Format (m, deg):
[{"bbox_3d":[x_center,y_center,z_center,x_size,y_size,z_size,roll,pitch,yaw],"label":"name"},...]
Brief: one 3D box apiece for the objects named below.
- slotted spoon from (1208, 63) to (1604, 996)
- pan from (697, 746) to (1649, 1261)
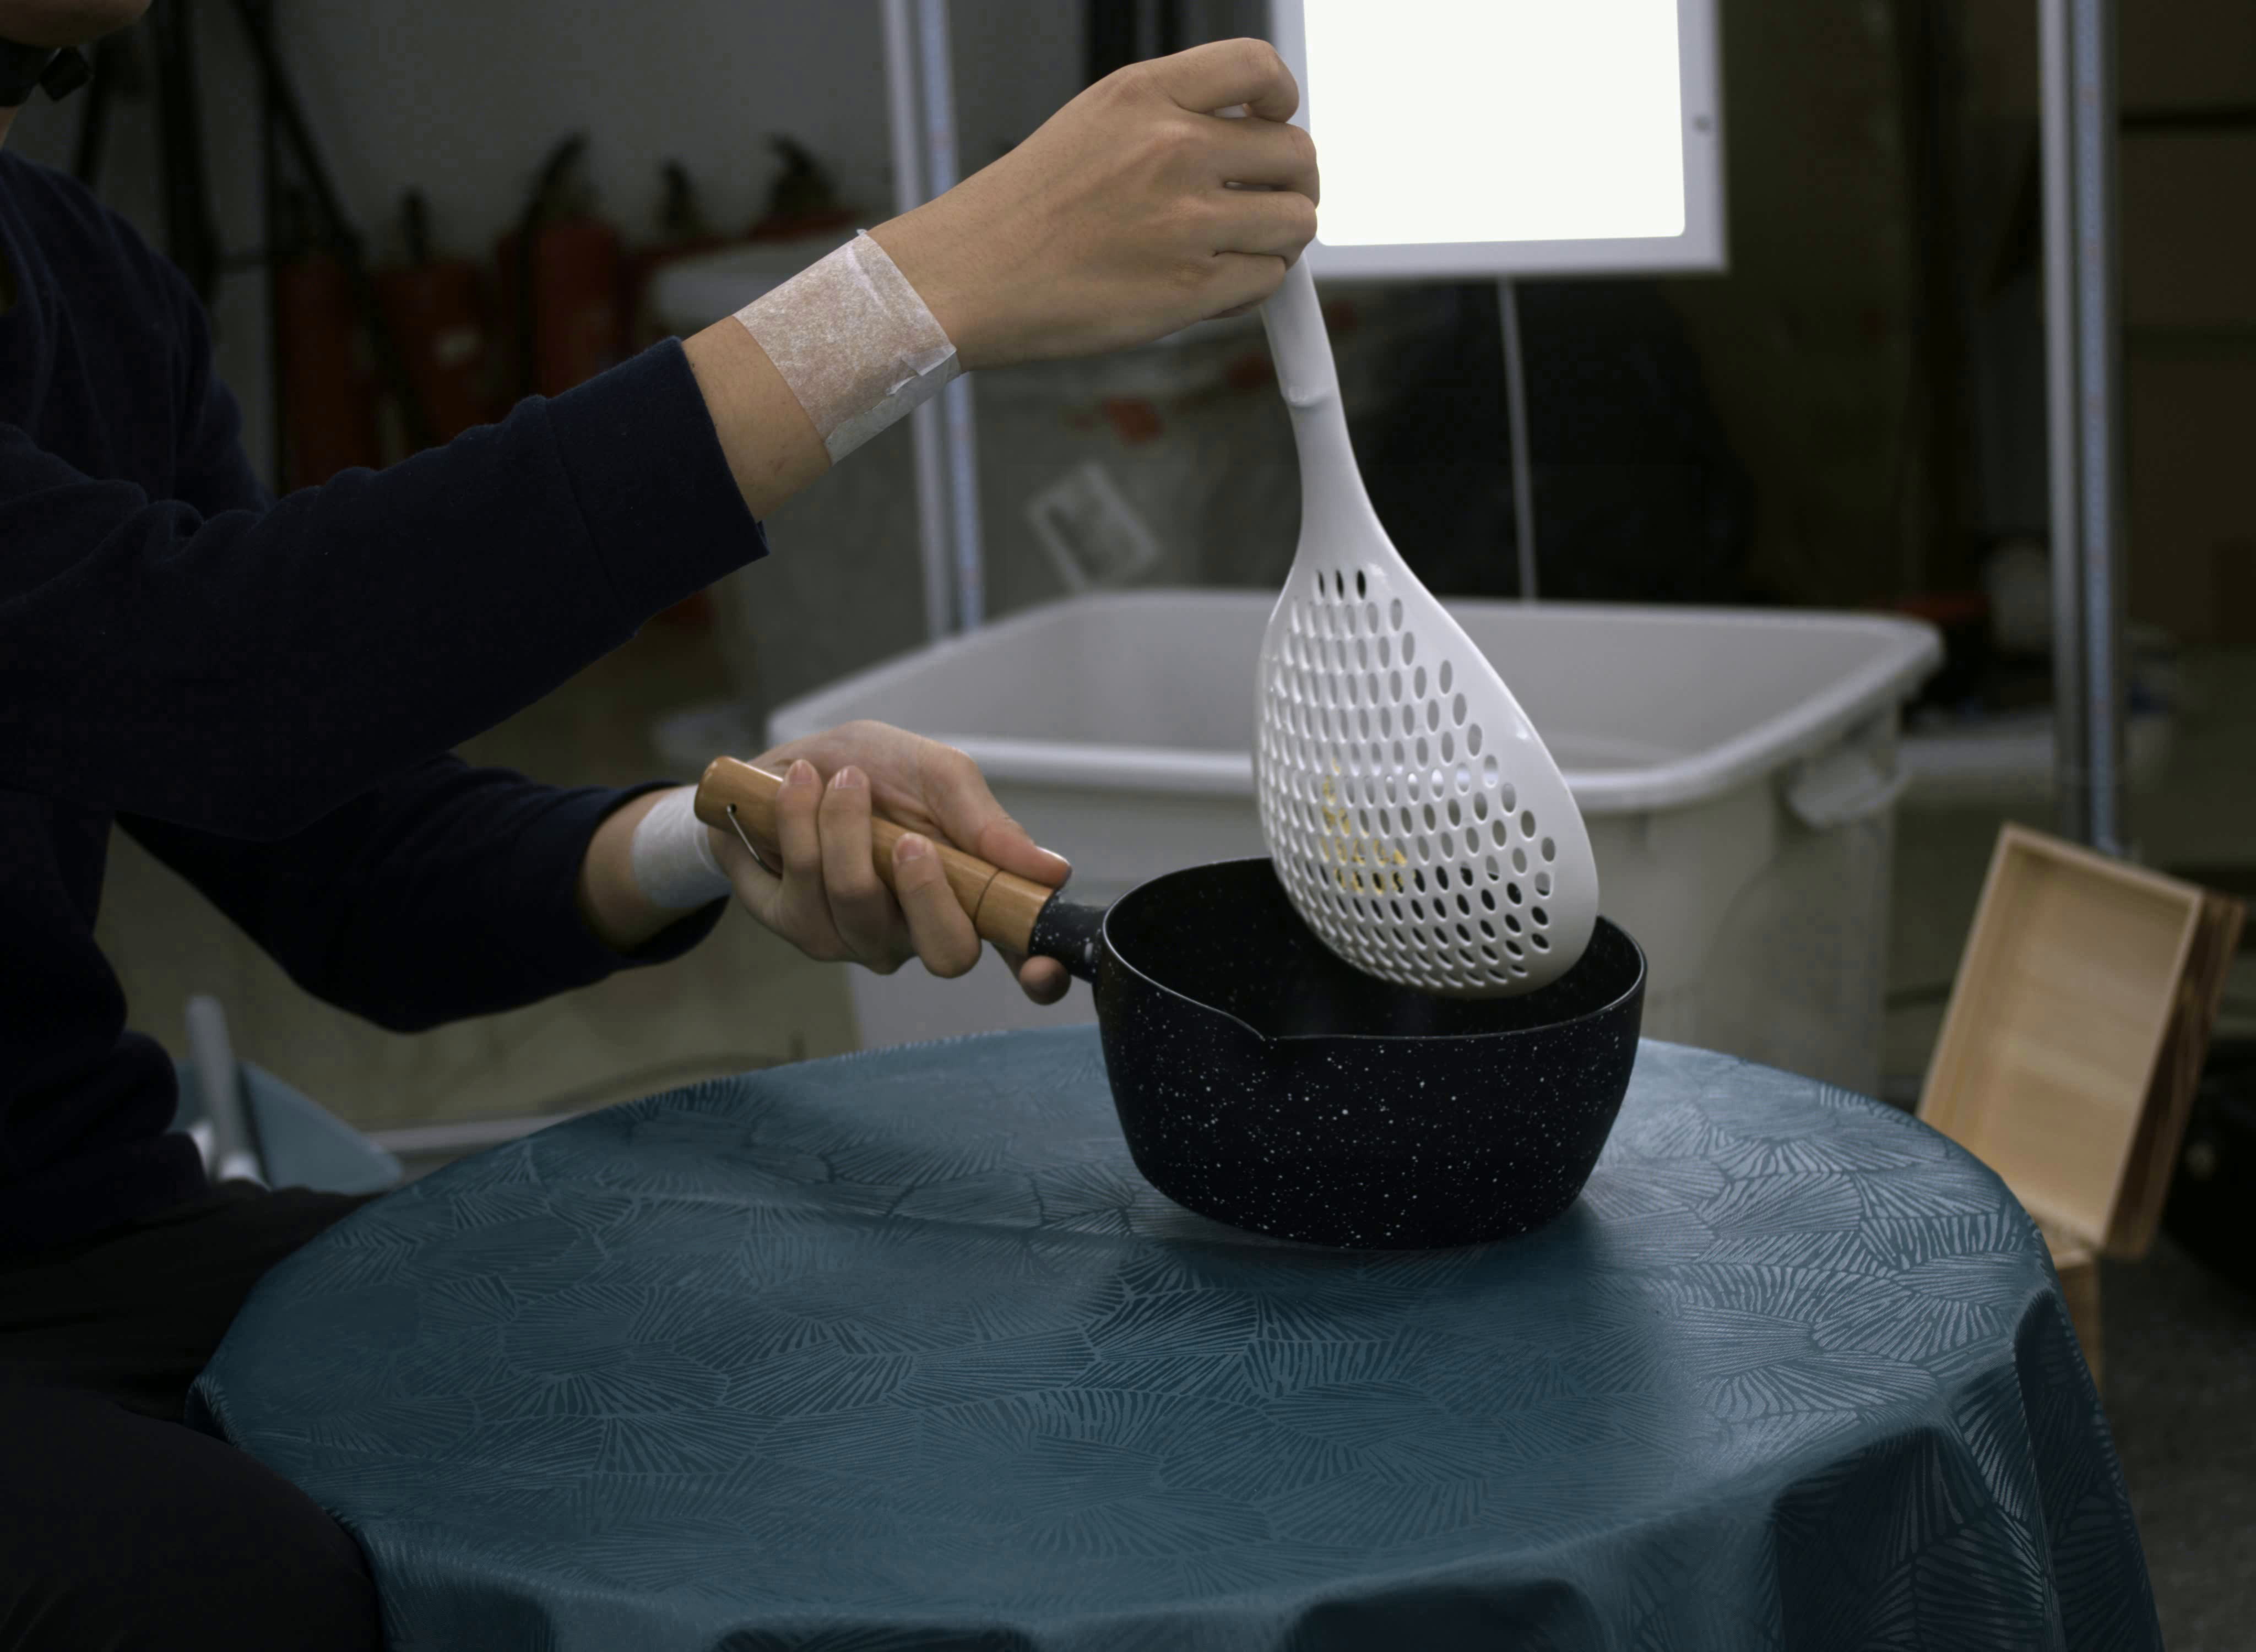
[{"bbox_3d":[0.070,-0.092,1.817,0.140,0.348,0.049,6,28,38],"label":"slotted spoon"},{"bbox_3d":[0.006,0.054,1.873,0.347,0.109,0.203,11,20,19],"label":"pan"}]
